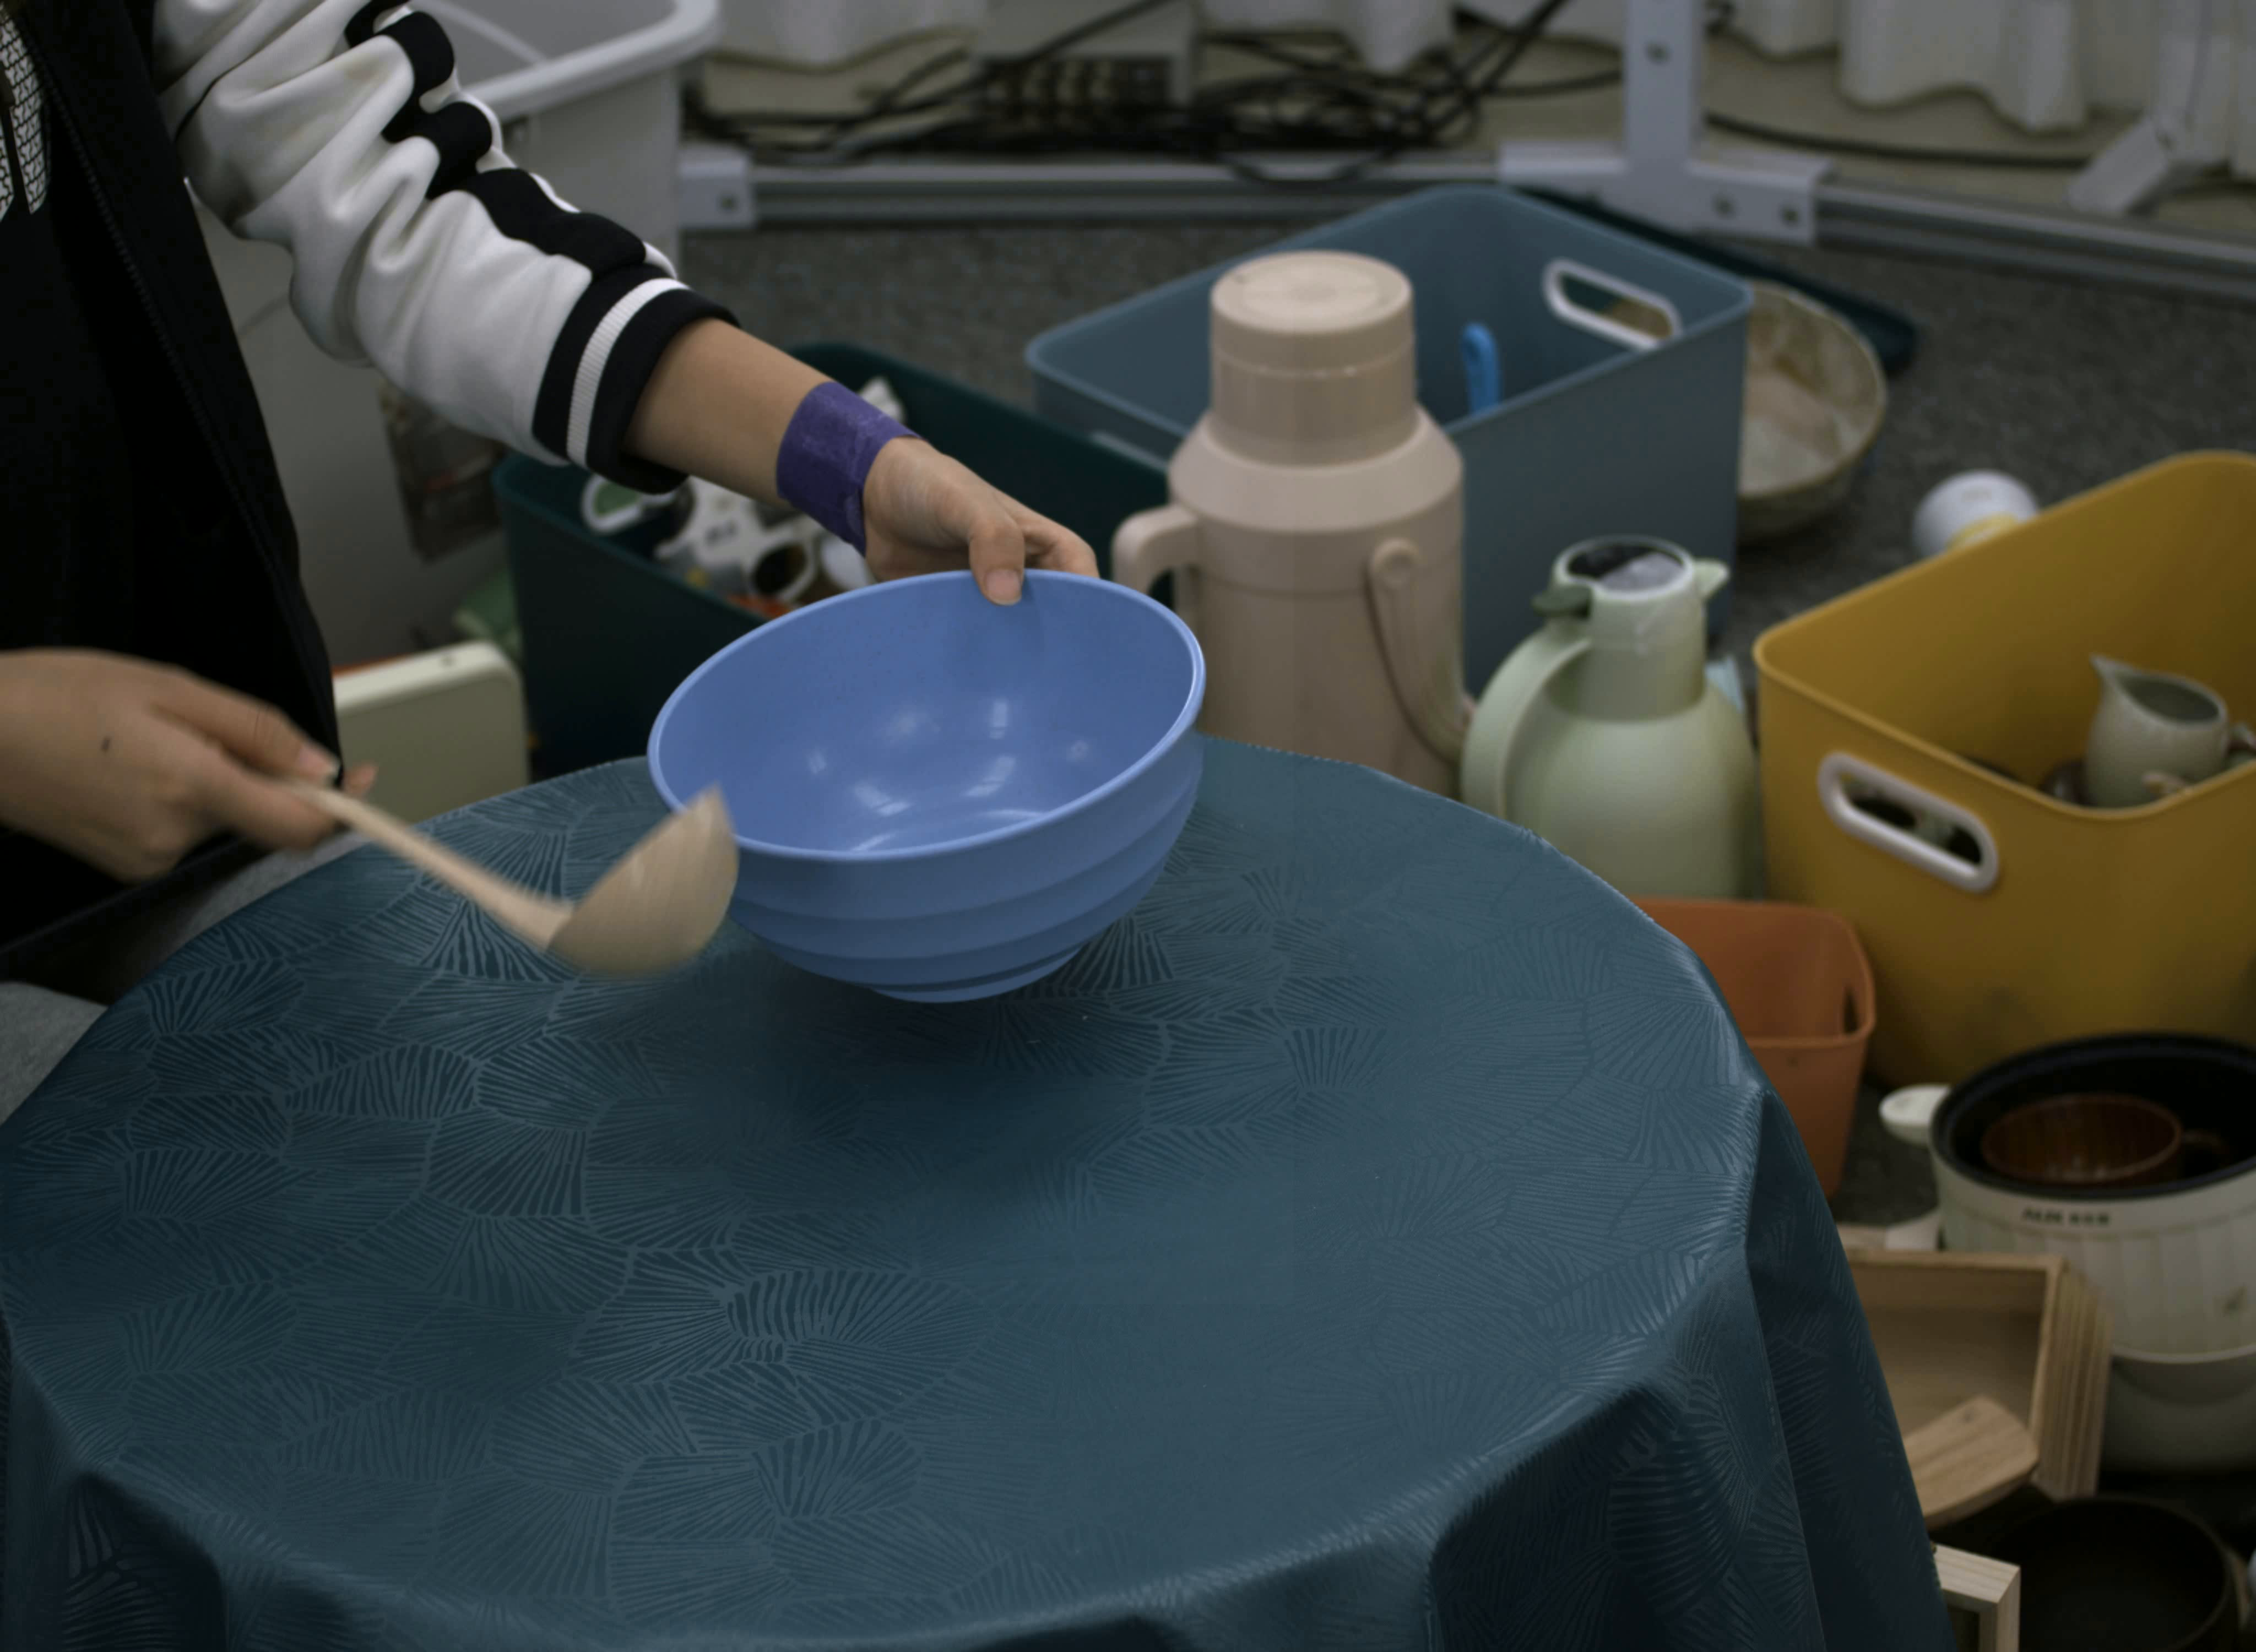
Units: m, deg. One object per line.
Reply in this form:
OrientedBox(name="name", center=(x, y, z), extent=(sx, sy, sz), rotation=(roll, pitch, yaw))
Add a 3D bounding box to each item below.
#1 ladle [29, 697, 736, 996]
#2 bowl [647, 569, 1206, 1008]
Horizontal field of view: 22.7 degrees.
OrientedBox(name="ladle", center=(-0.246, -0.019, 1.838), extent=(0.254, 0.072, 0.073), rotation=(24, 27, 15))
OrientedBox(name="bowl", center=(-0.063, 0.000, 1.962), extent=(0.195, 0.094, 0.200), rotation=(-7, 30, 4))
